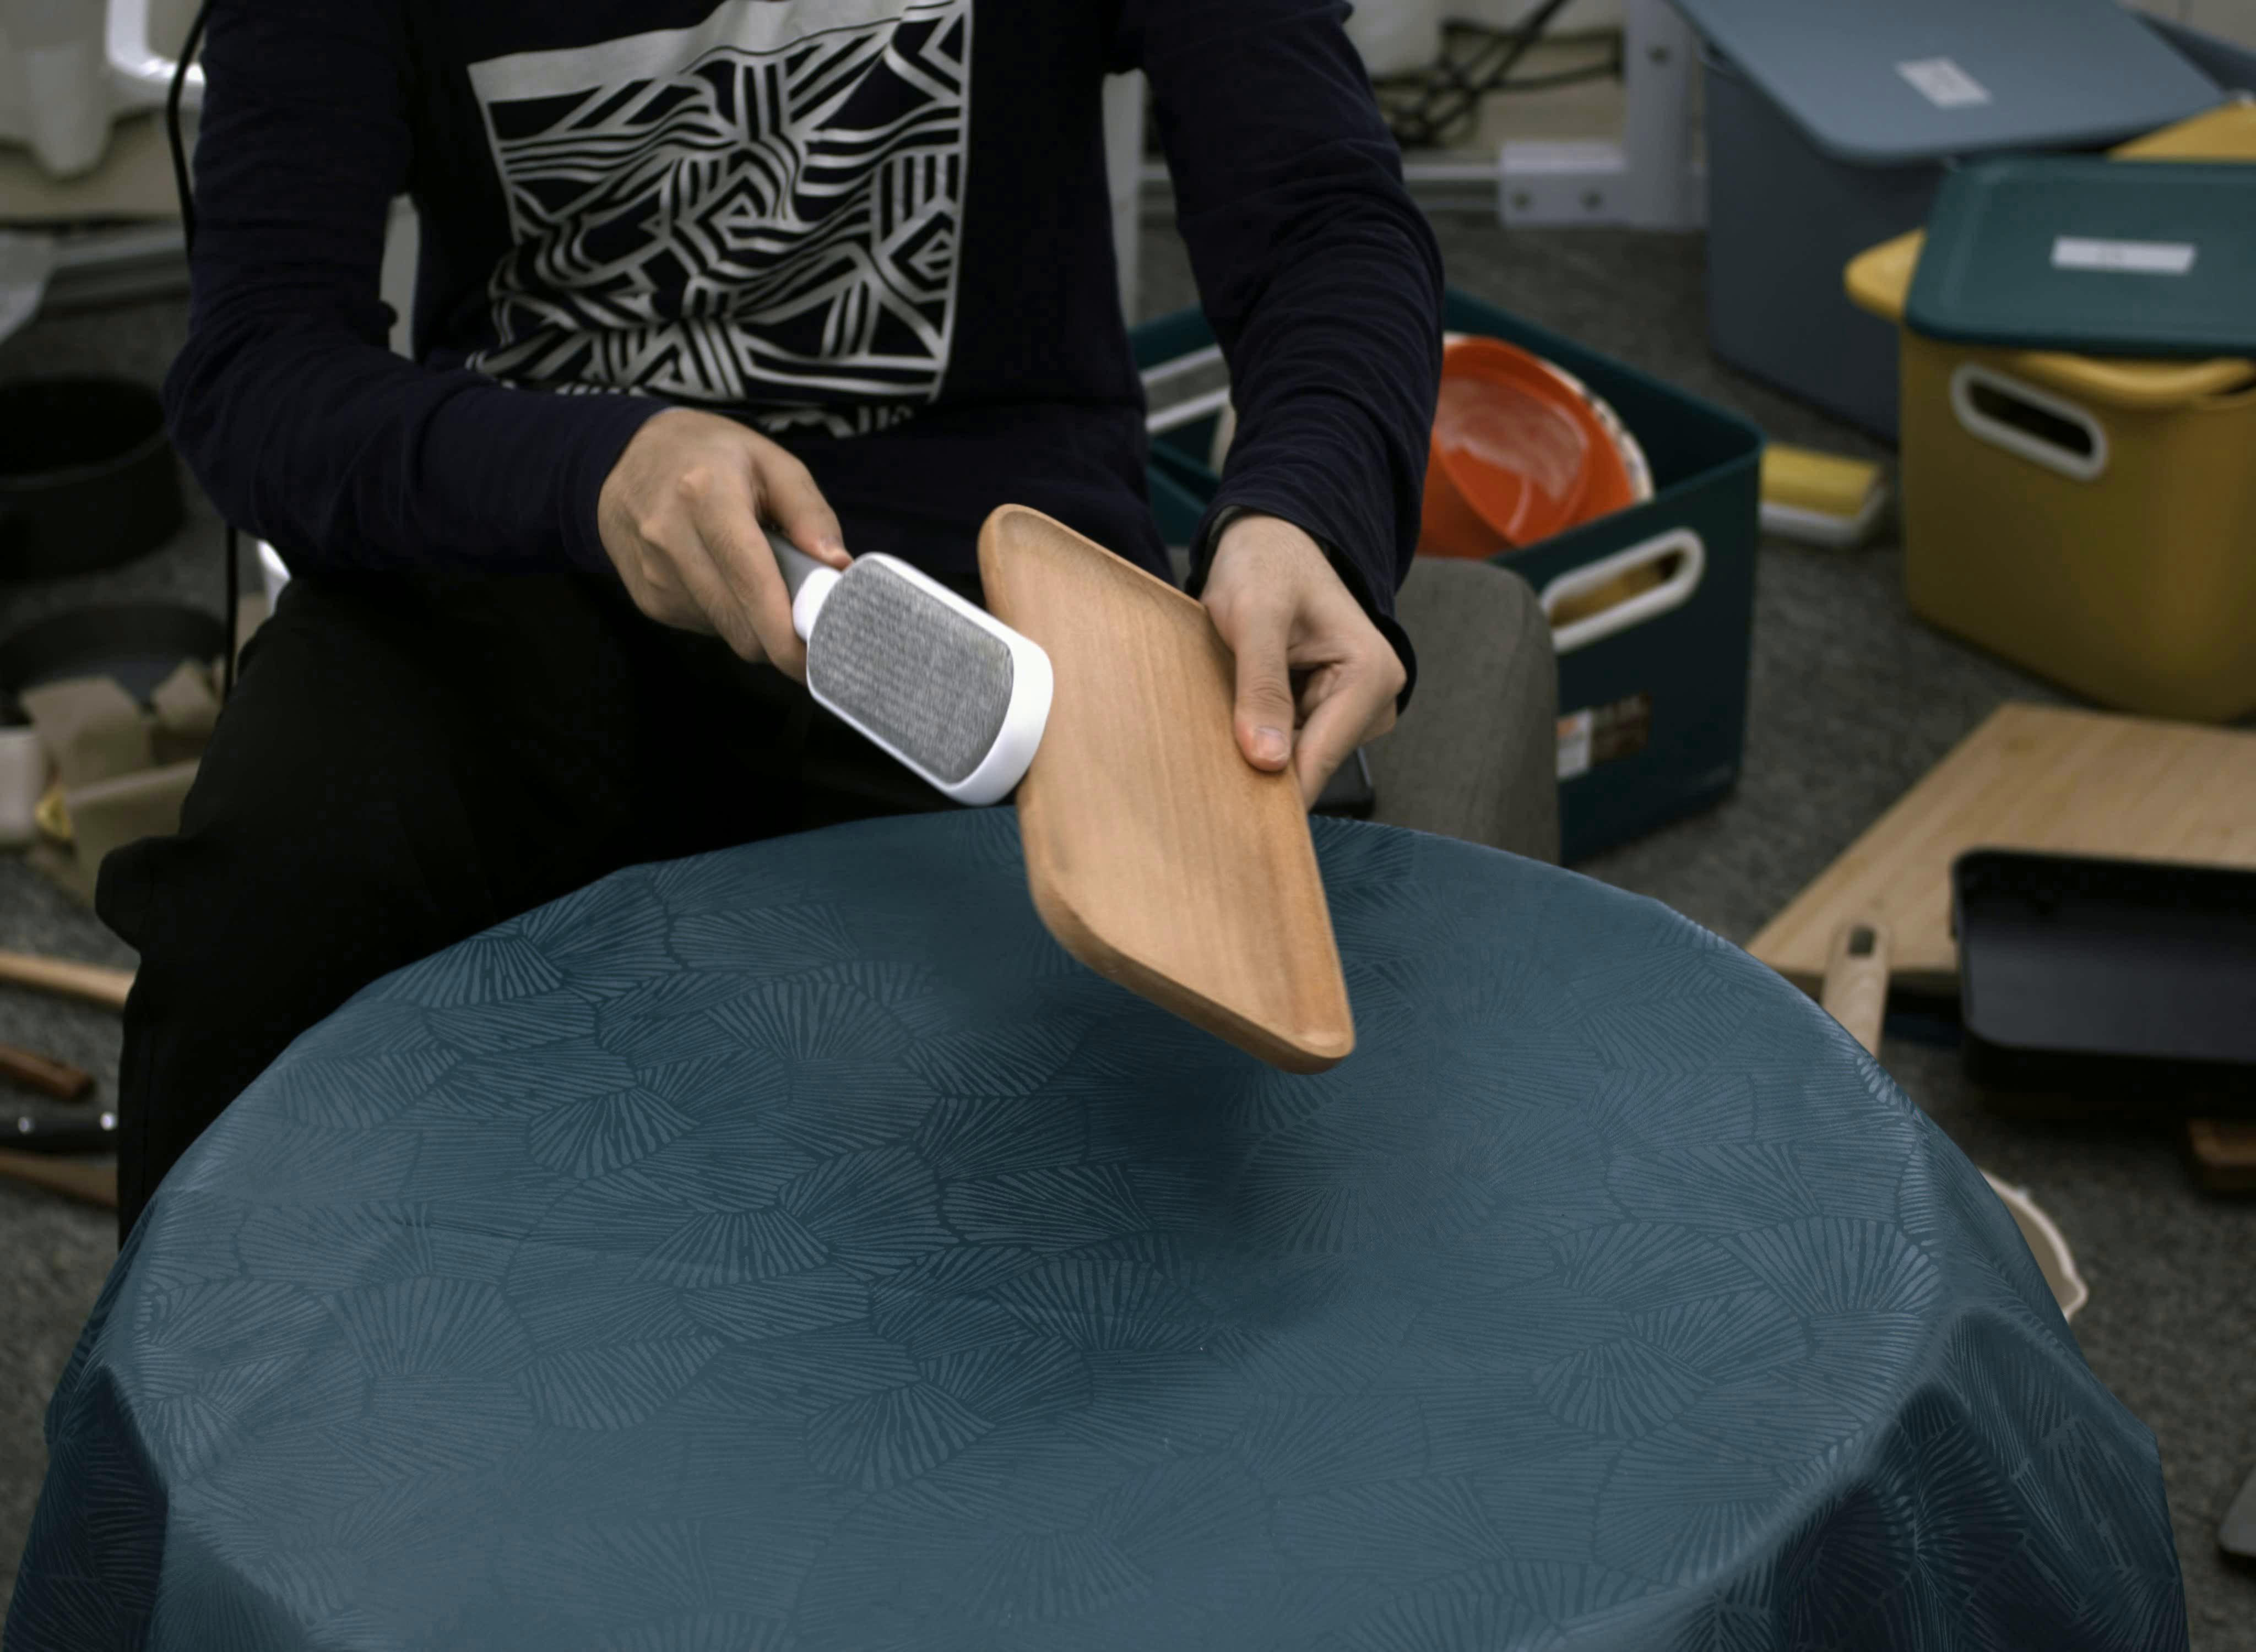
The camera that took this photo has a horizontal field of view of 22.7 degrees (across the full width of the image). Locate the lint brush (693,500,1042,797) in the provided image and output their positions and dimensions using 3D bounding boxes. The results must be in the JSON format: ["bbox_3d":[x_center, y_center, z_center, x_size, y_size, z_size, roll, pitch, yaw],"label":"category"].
[{"bbox_3d":[-0.094,-0.071,1.939,0.021,0.060,0.309,16,8,-26],"label":"lint brush"}]

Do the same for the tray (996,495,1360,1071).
[{"bbox_3d":[0.013,-0.016,1.875,0.130,0.022,0.255,33,26,-24],"label":"tray"}]
